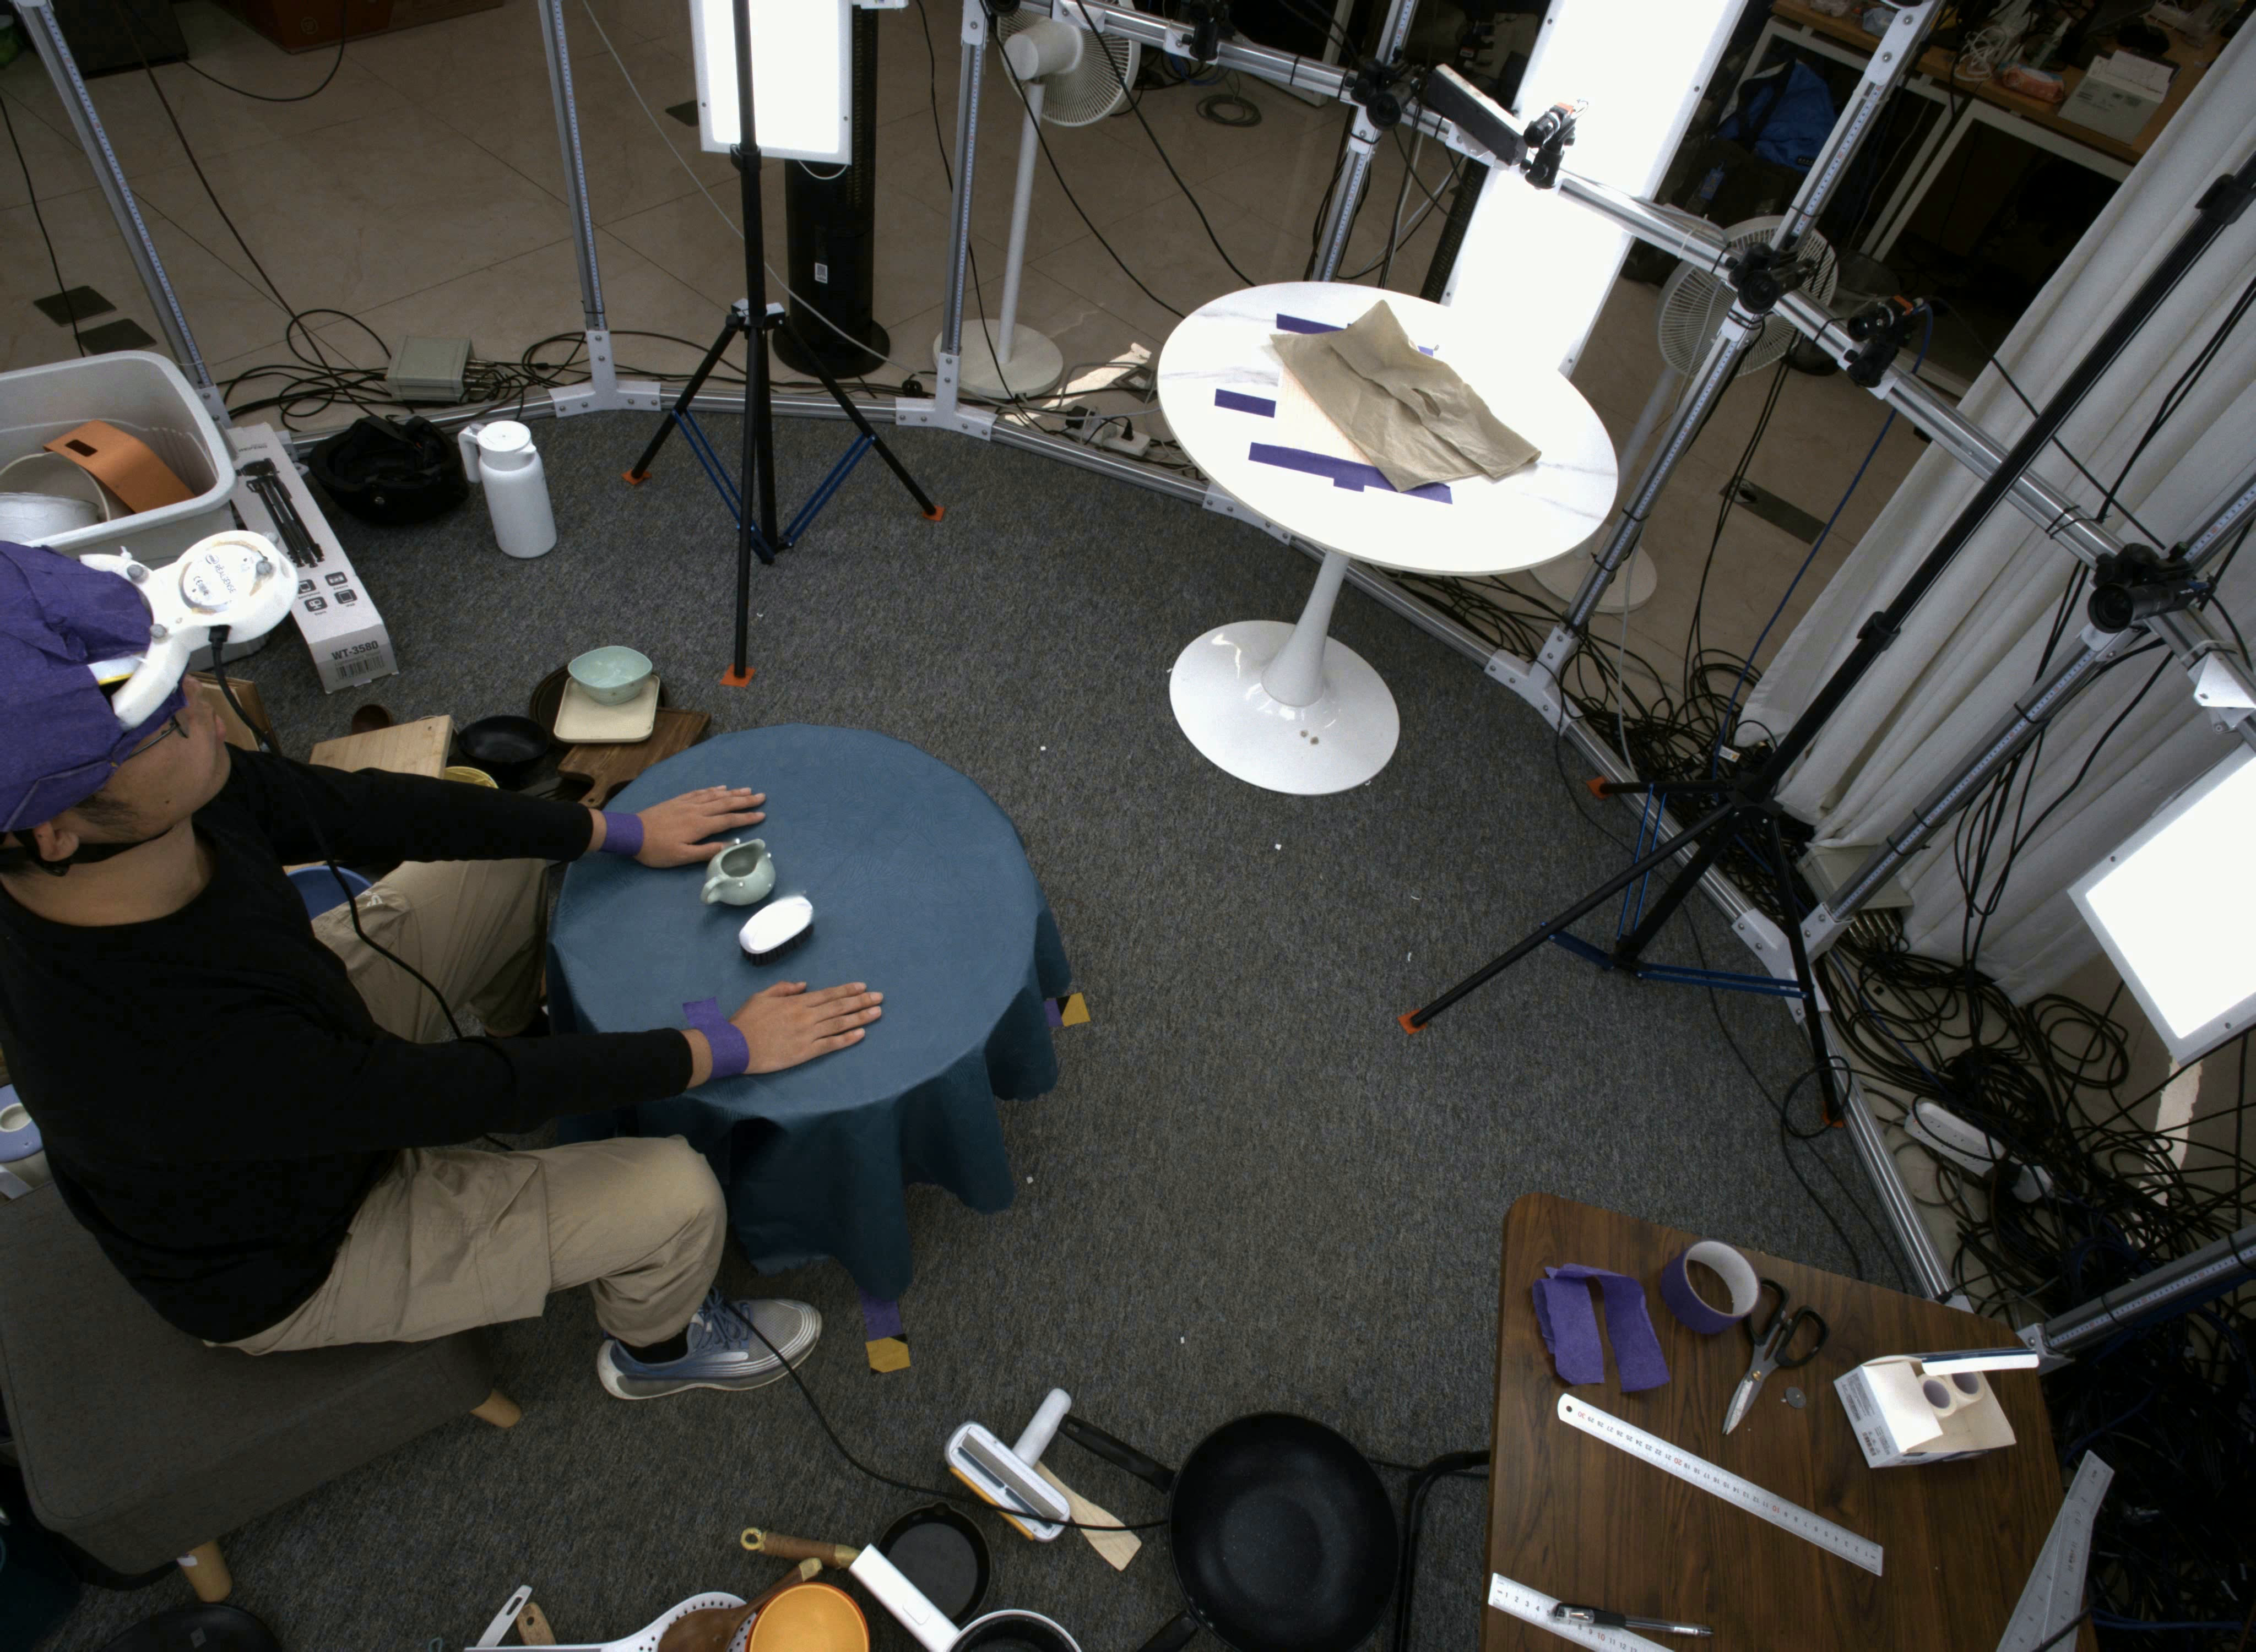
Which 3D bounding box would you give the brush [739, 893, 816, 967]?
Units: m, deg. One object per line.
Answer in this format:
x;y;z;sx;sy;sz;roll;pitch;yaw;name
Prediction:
-0.431;0.118;1.590;0.099;0.074;0.049;-33;63;-33;brush

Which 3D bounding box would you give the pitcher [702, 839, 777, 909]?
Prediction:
-0.494;0.065;1.626;0.084;0.061;0.107;30;55;11;pitcher
